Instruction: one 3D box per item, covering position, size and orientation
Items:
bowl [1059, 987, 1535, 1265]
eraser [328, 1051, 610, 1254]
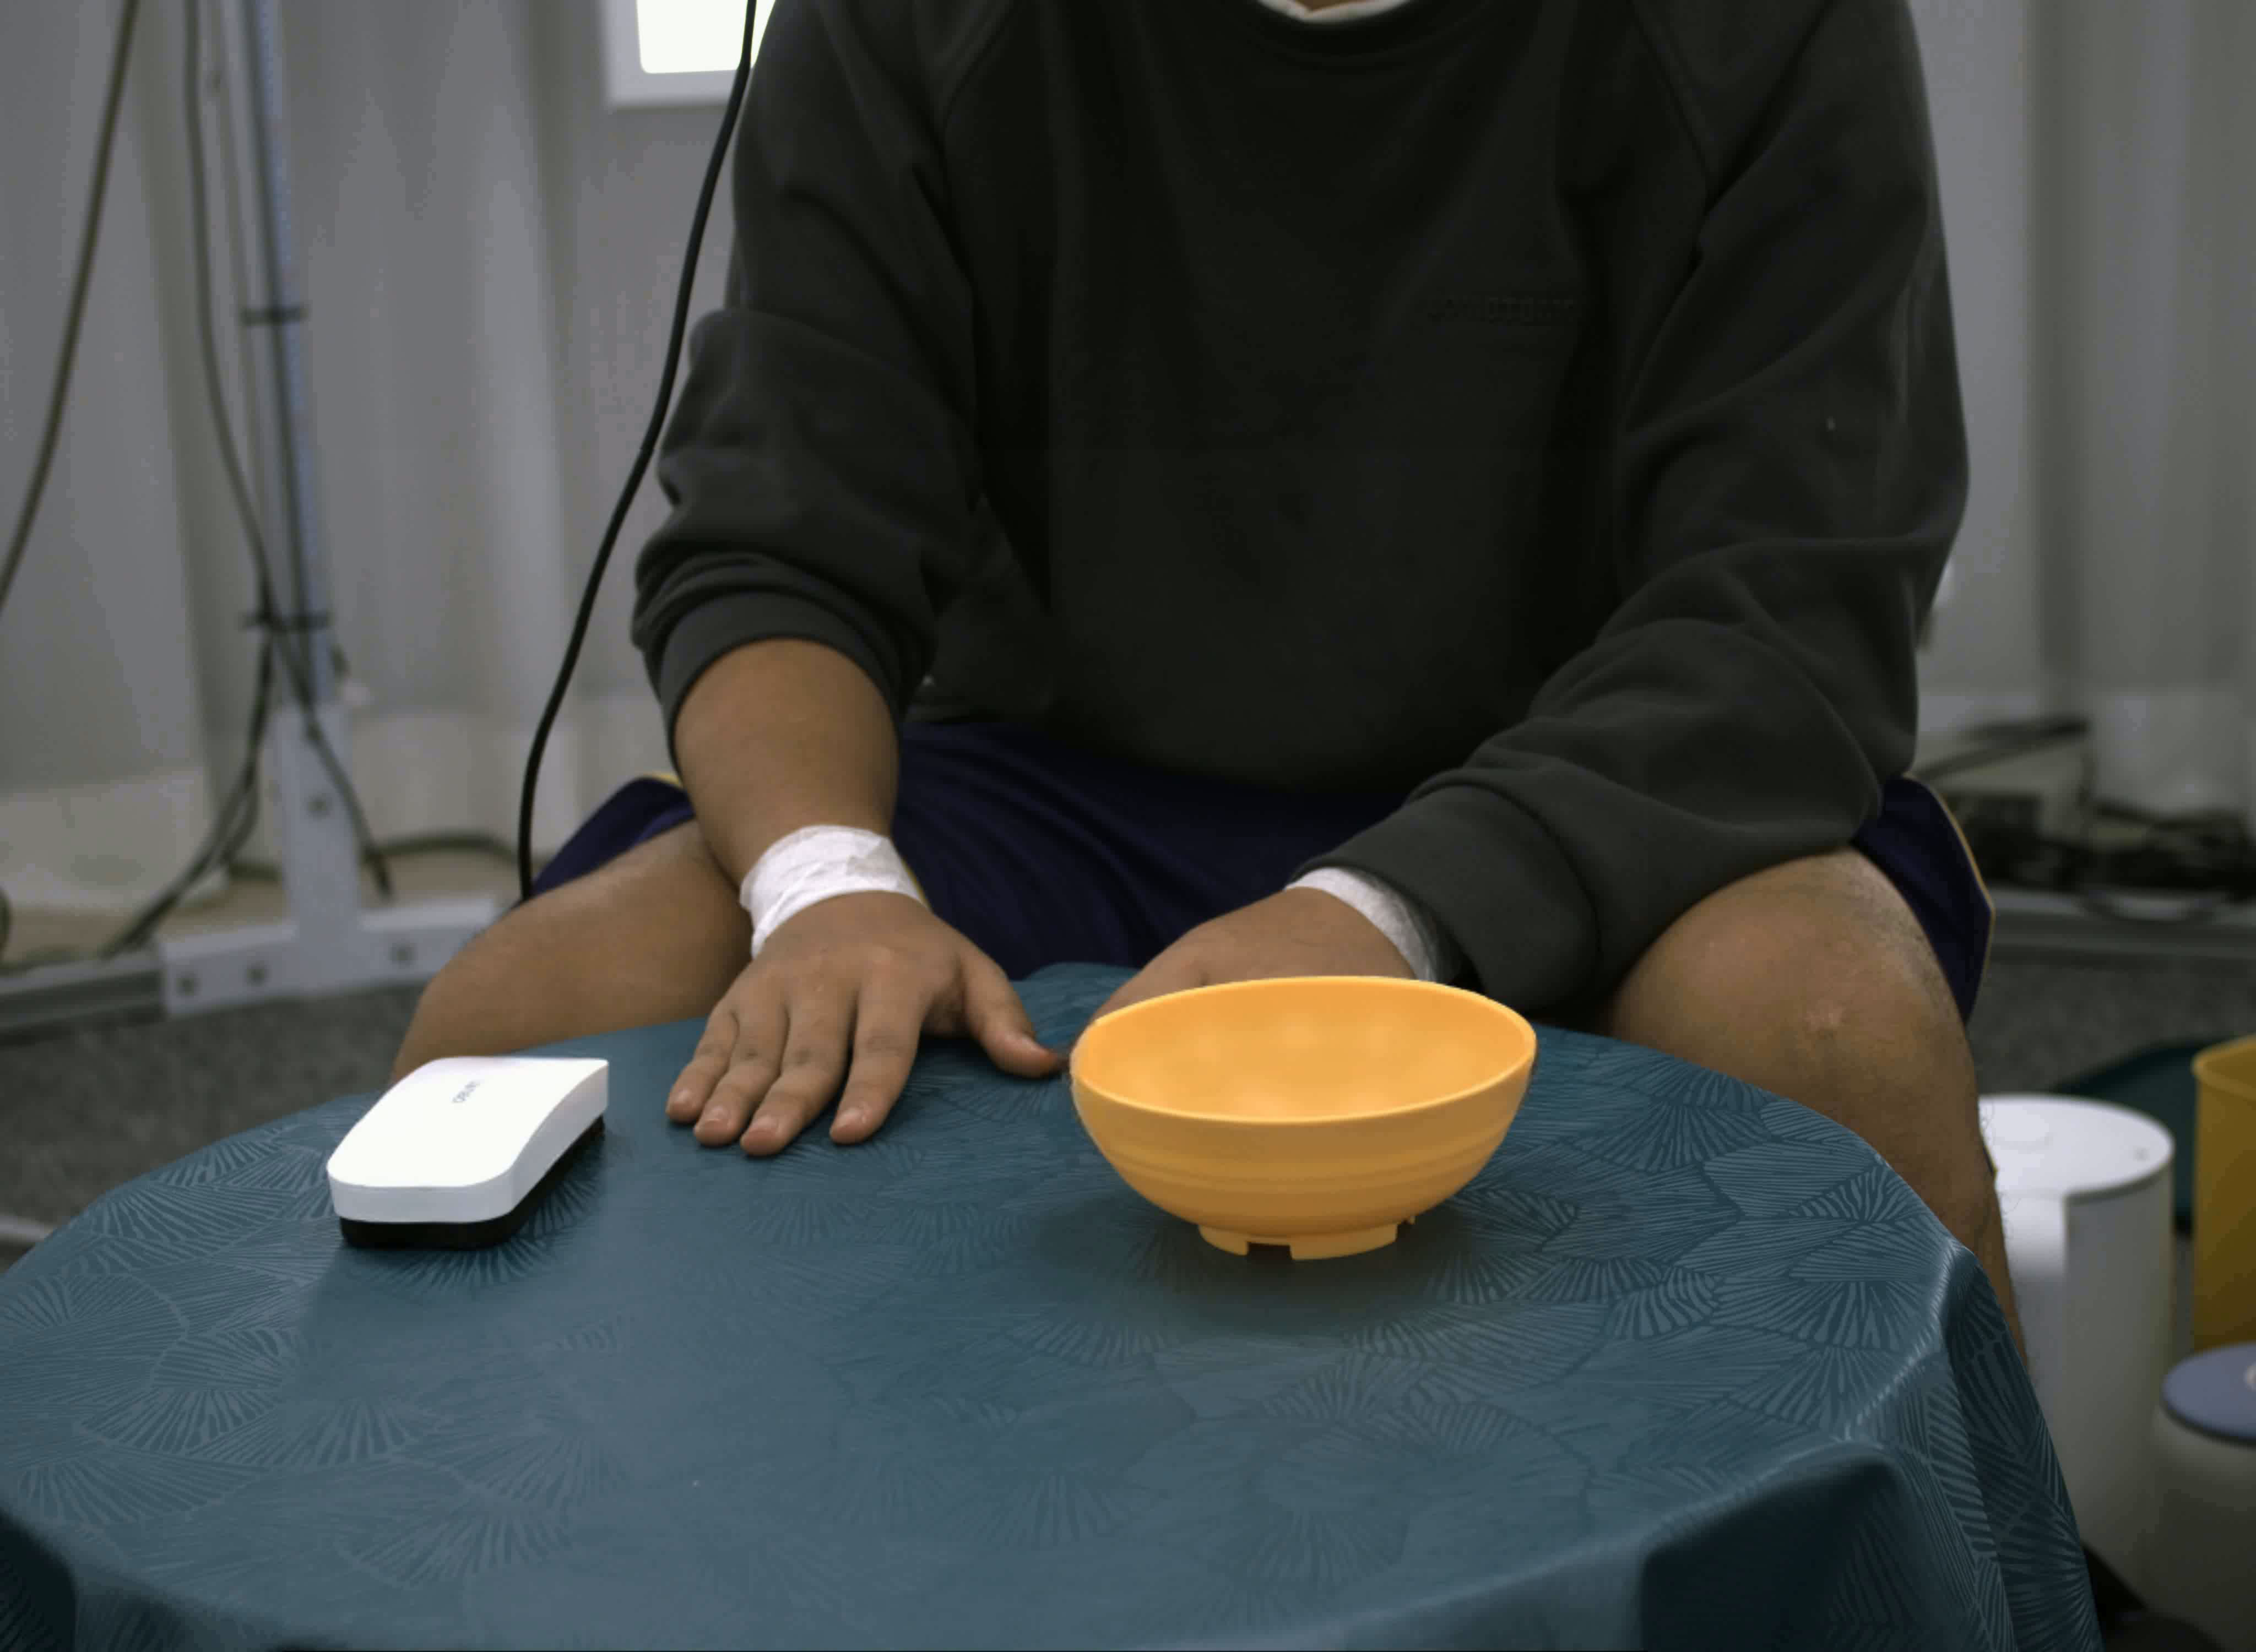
[{"bbox_3d":[0.052,0.097,1.670,0.145,0.060,0.146,-1,13,0],"label":"bowl"},{"bbox_3d":[-0.208,0.100,1.751,0.063,0.034,0.132,1,16,12],"label":"eraser"}]
